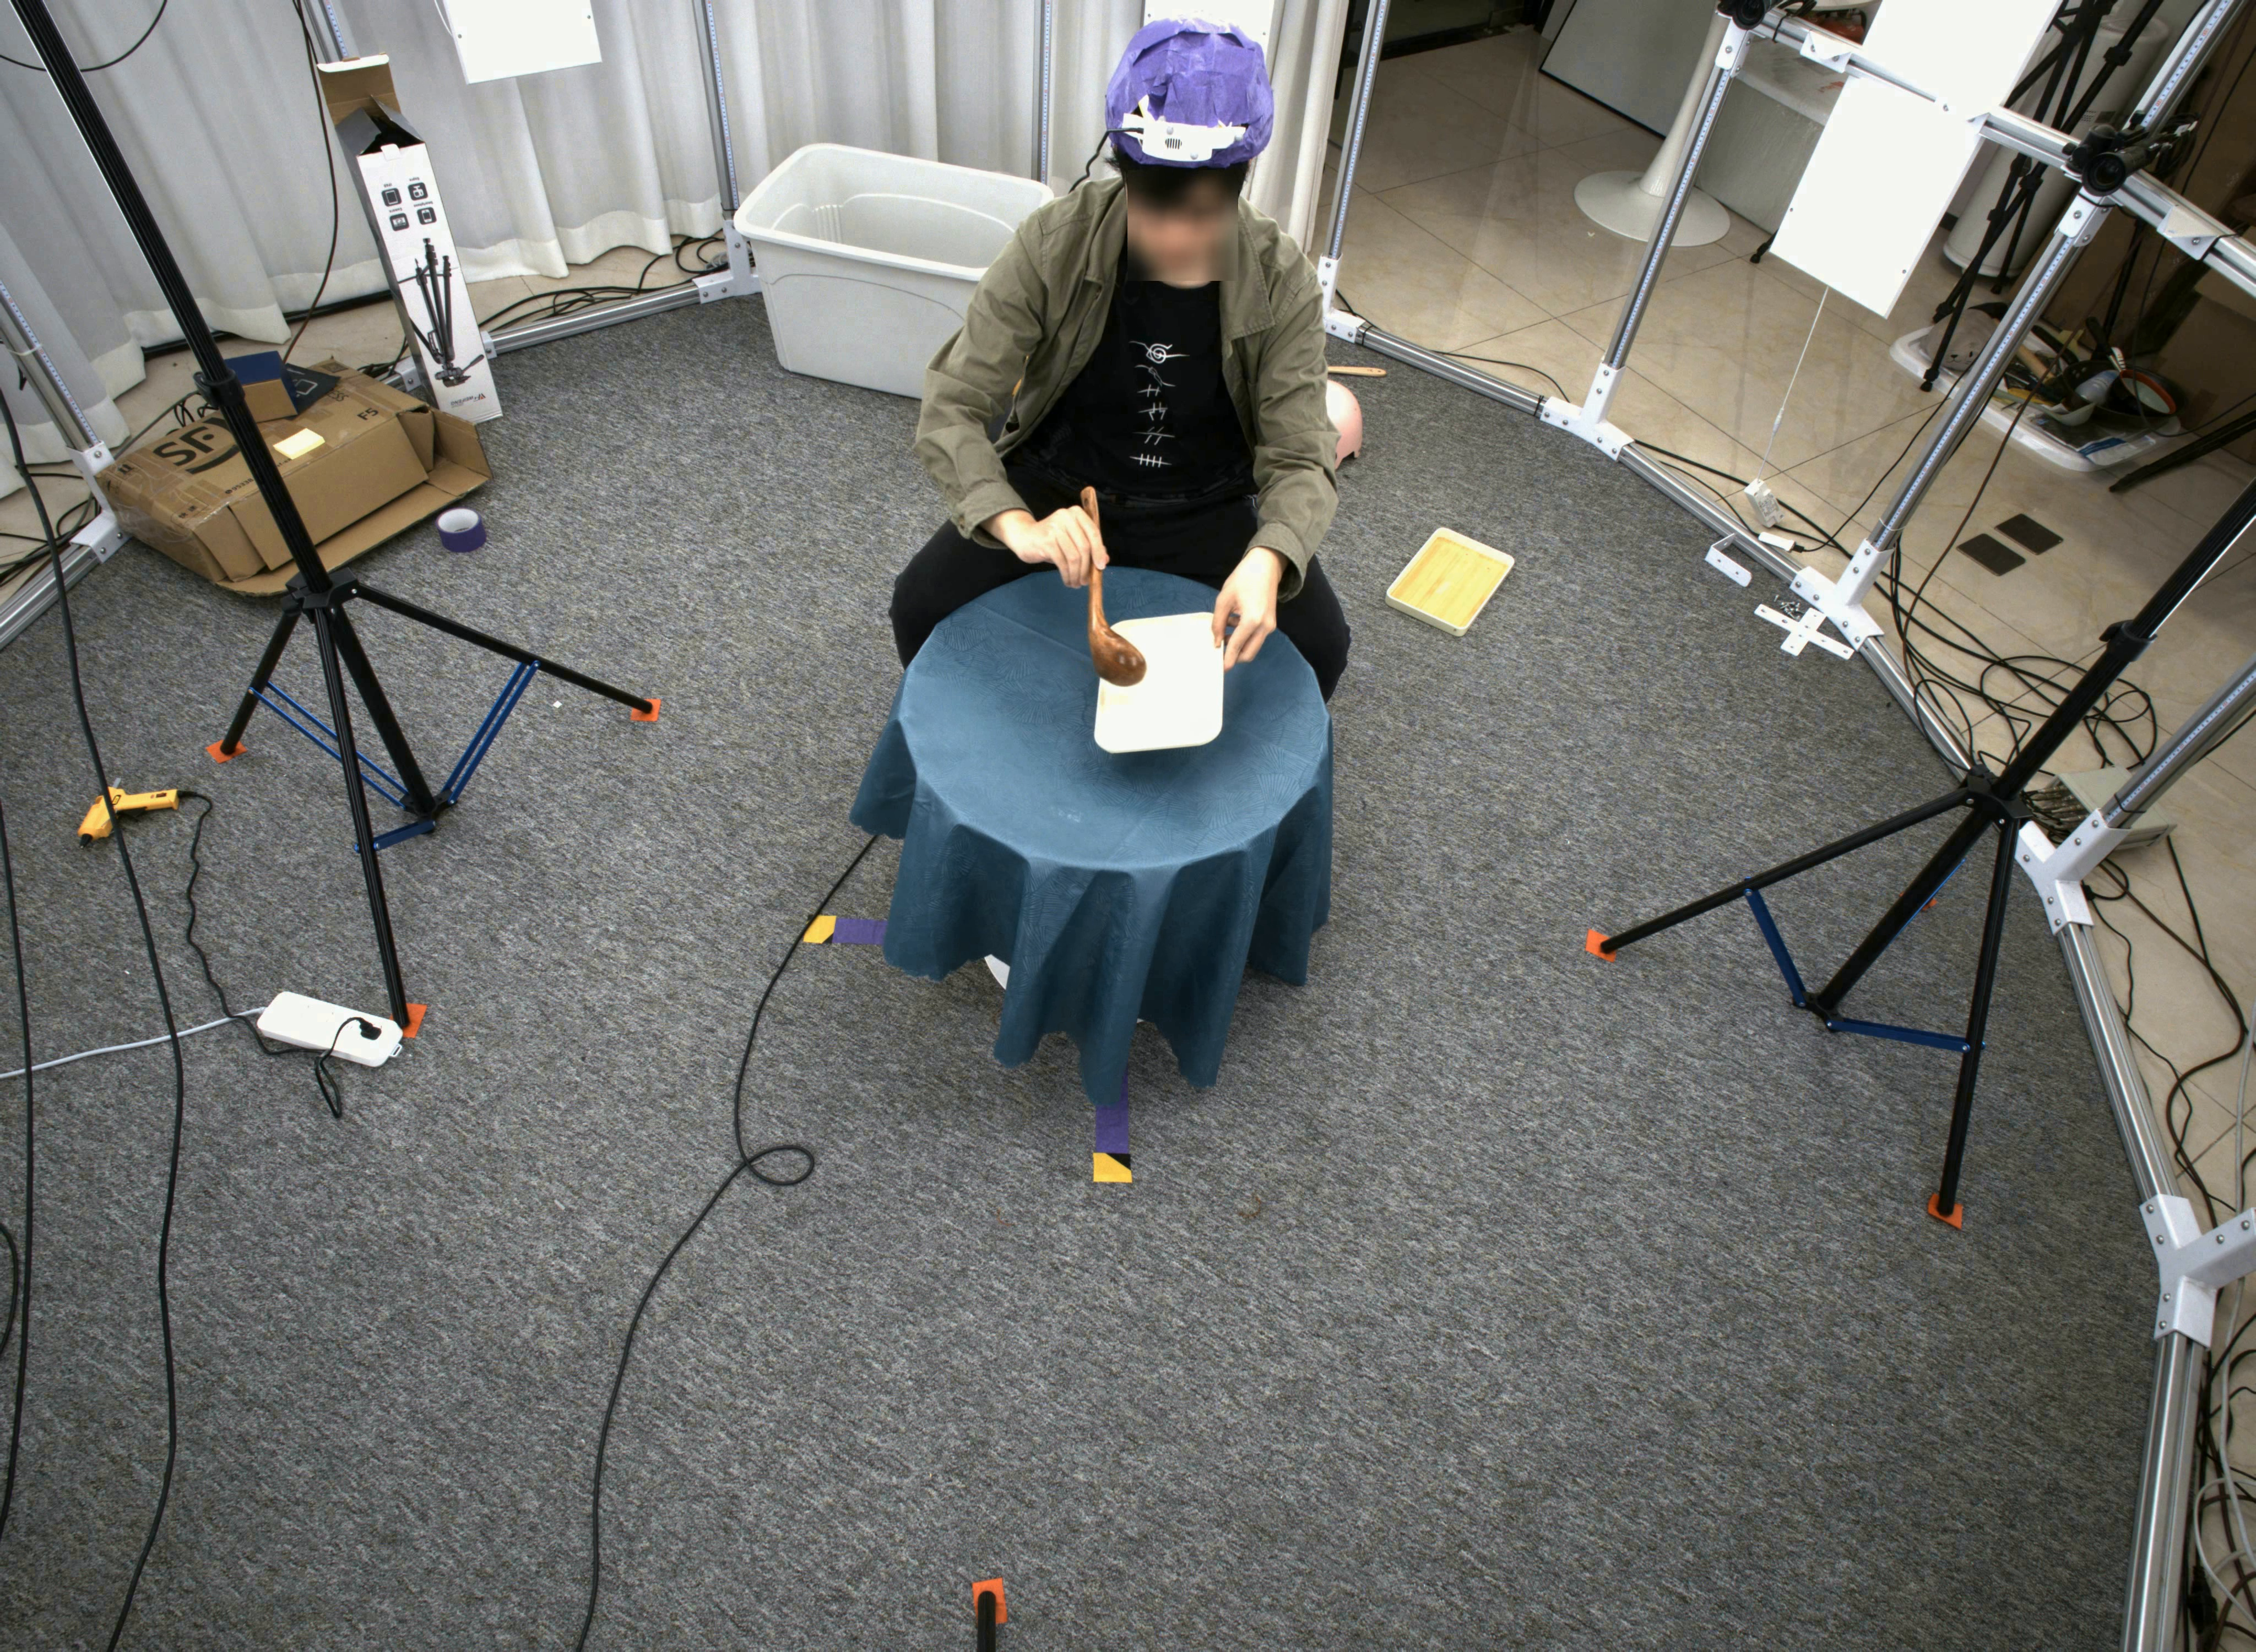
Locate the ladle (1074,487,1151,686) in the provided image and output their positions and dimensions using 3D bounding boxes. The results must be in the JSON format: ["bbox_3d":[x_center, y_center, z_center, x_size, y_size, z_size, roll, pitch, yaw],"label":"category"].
[{"bbox_3d":[-0.021,-0.320,1.709,0.076,0.081,0.278,9,67,-38],"label":"ladle"}]

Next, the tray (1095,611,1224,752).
[{"bbox_3d":[0.045,-0.195,1.723,0.171,0.017,0.245,-4,51,10],"label":"tray"}]
